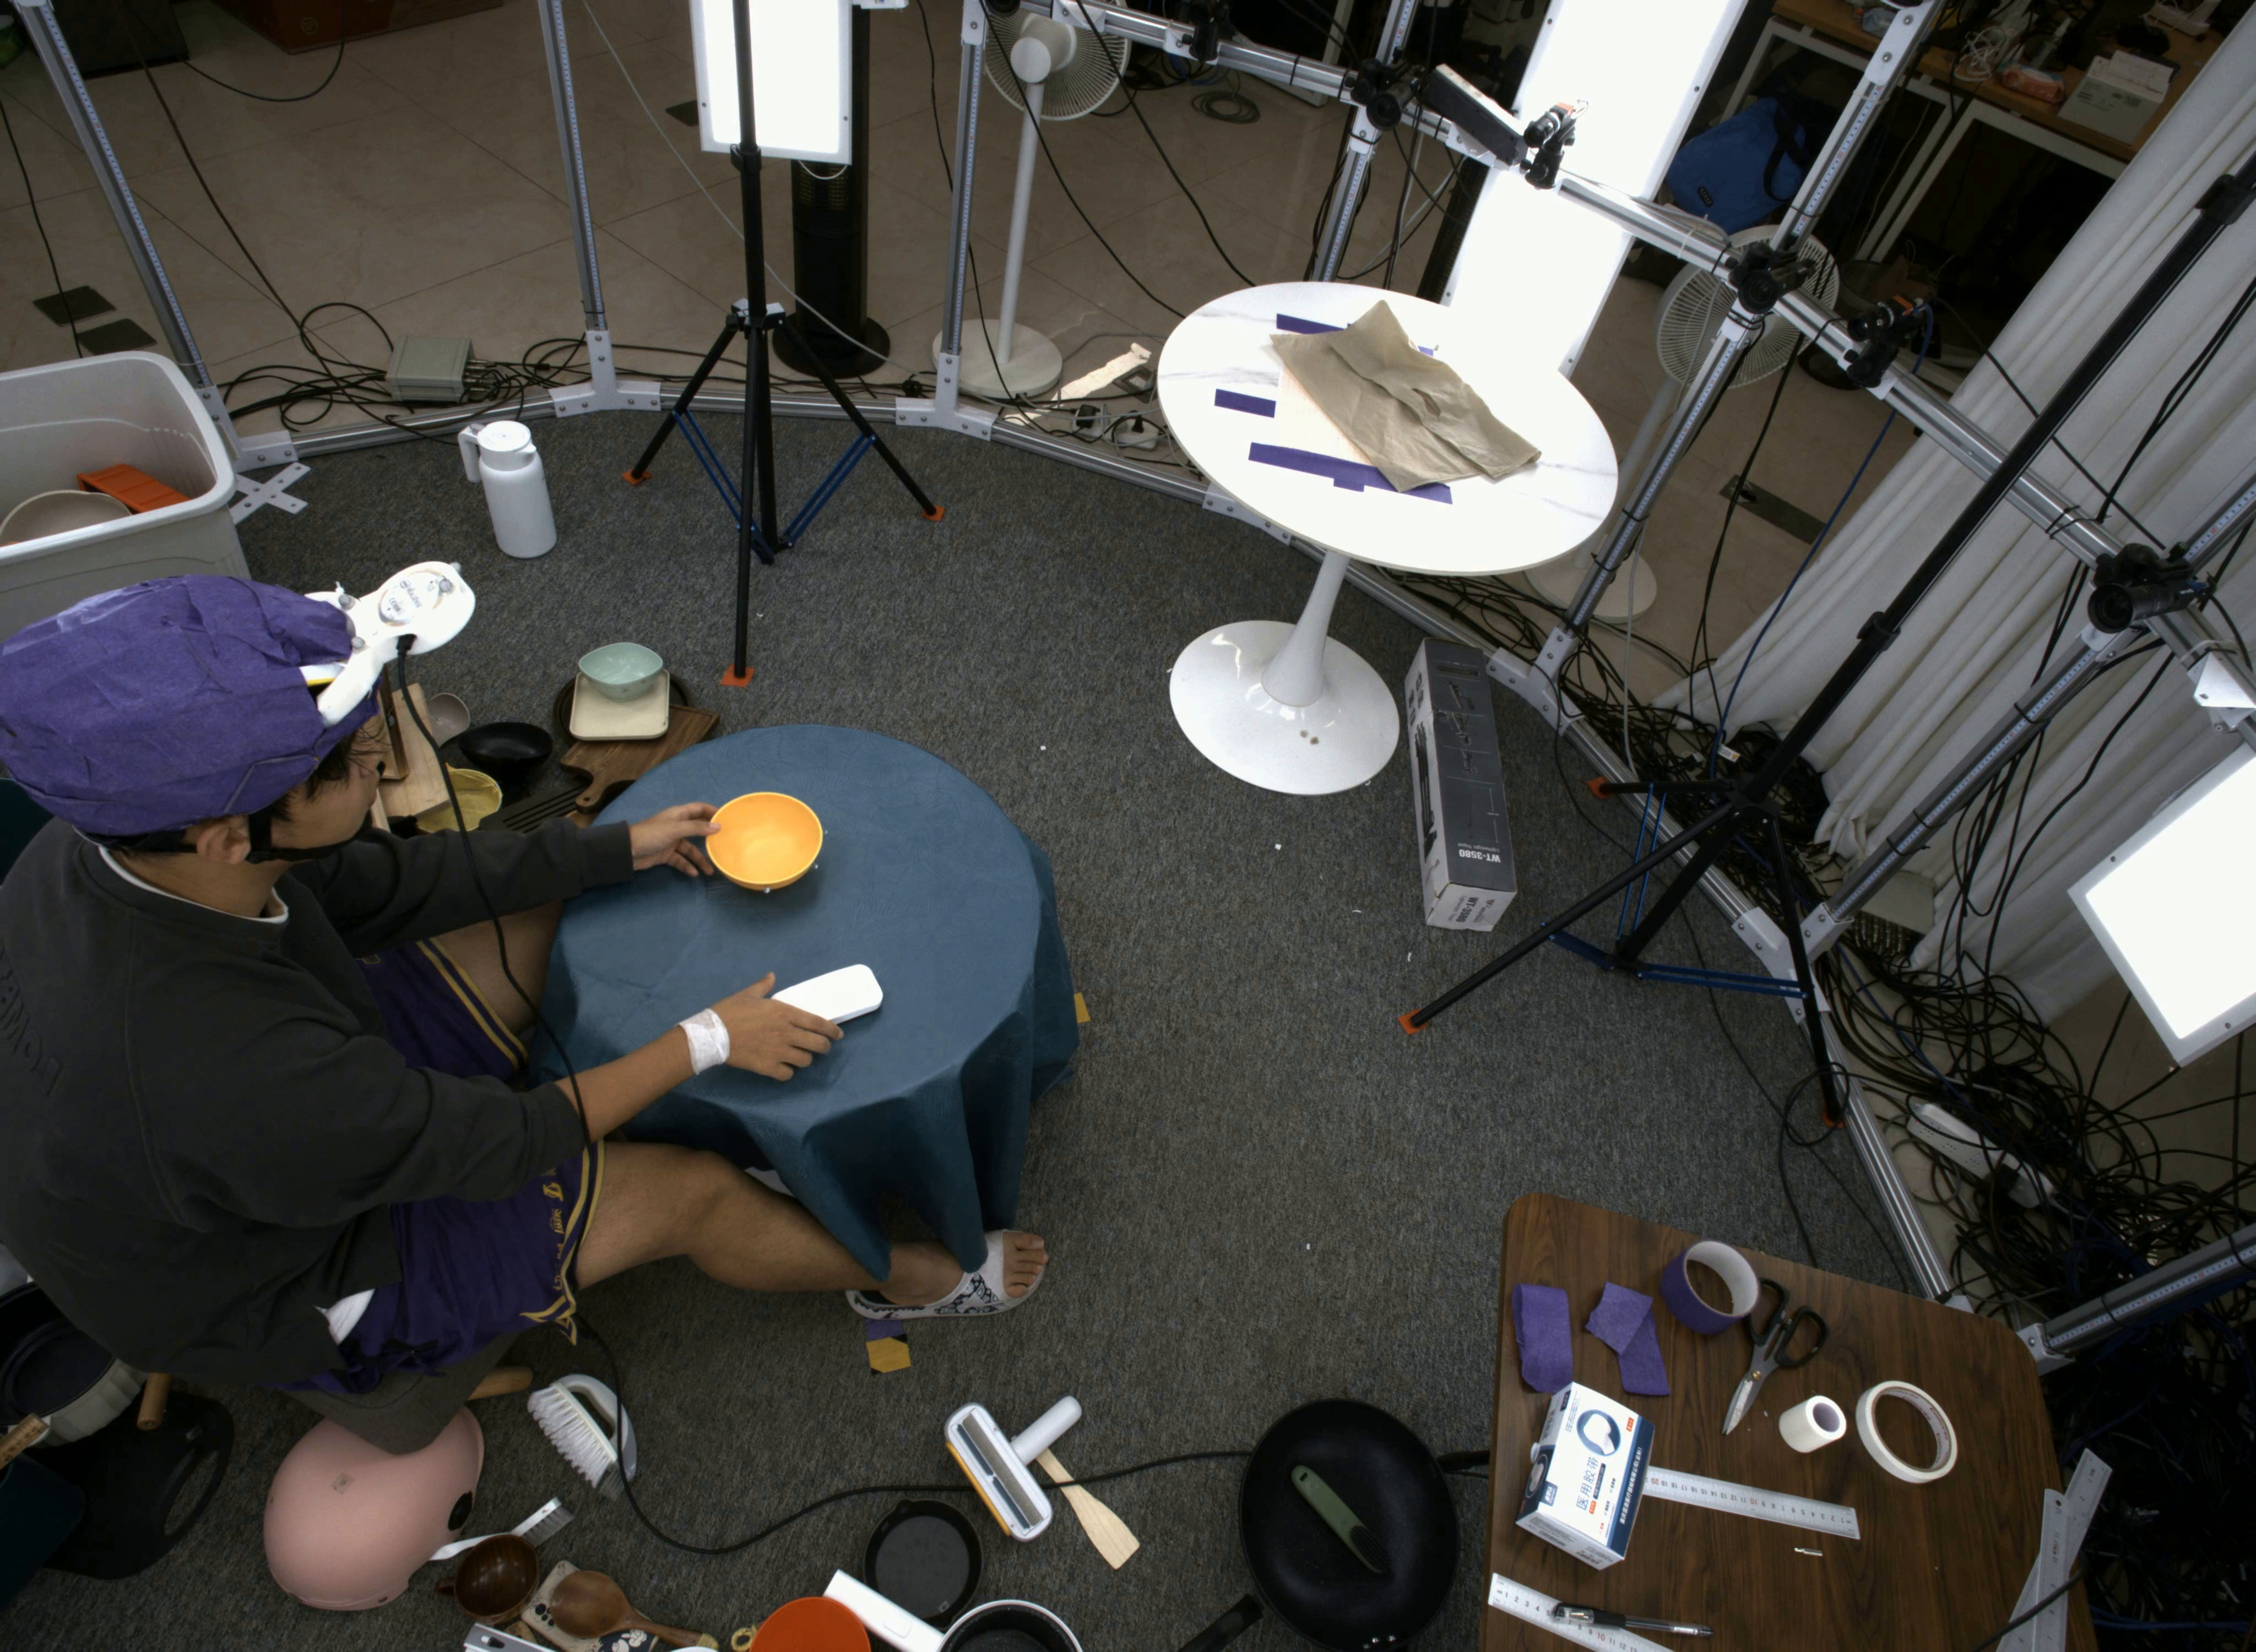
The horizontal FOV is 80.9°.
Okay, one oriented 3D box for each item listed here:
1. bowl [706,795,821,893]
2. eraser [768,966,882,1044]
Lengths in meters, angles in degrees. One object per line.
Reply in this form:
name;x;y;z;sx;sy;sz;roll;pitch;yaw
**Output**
bowl;-0.465;0.032;1.660;0.144;0.061;0.143;6;53;-6
eraser;-0.365;0.211;1.566;0.132;0.035;0.062;-18;59;-27
